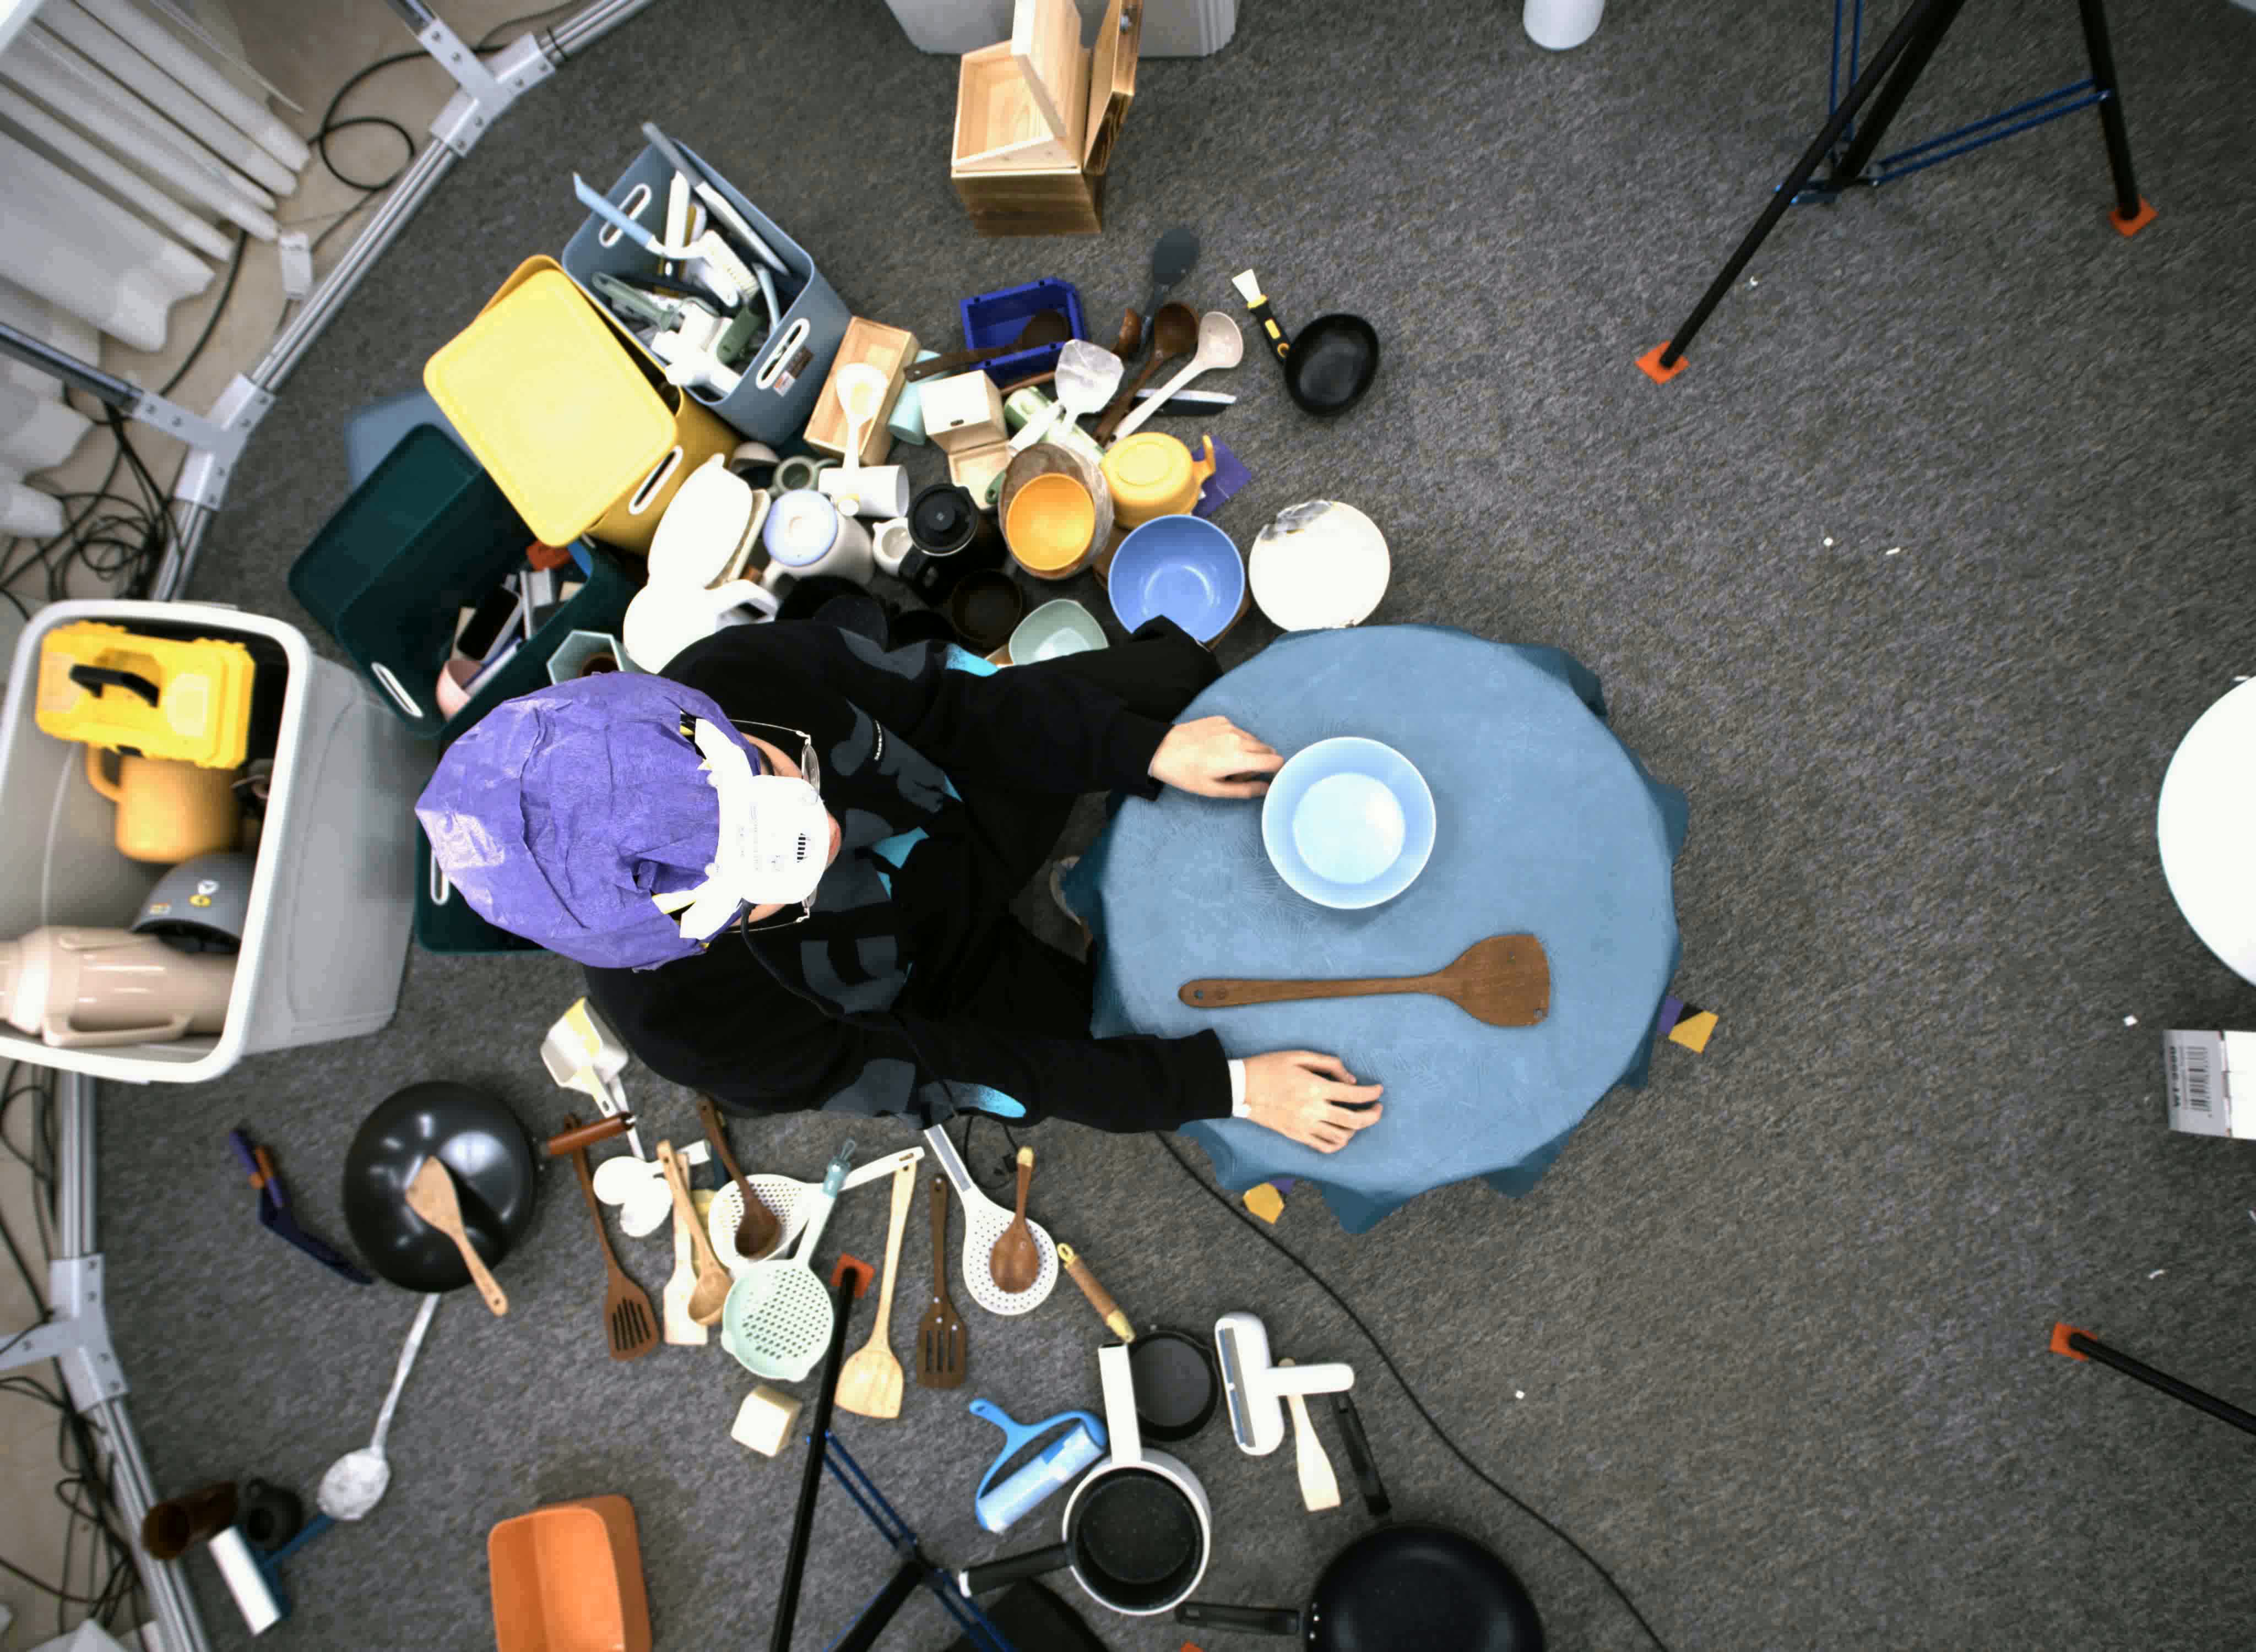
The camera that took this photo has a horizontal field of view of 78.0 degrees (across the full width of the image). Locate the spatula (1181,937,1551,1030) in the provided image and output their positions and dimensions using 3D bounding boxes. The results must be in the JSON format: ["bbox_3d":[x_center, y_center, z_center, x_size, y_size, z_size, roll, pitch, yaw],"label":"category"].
[{"bbox_3d":[0.246,0.171,1.455,0.387,0.016,0.095,-4,85,10],"label":"spatula"}]

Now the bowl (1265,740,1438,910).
[{"bbox_3d":[0.234,0.001,1.441,0.177,0.070,0.175,-1,86,12],"label":"bowl"}]
